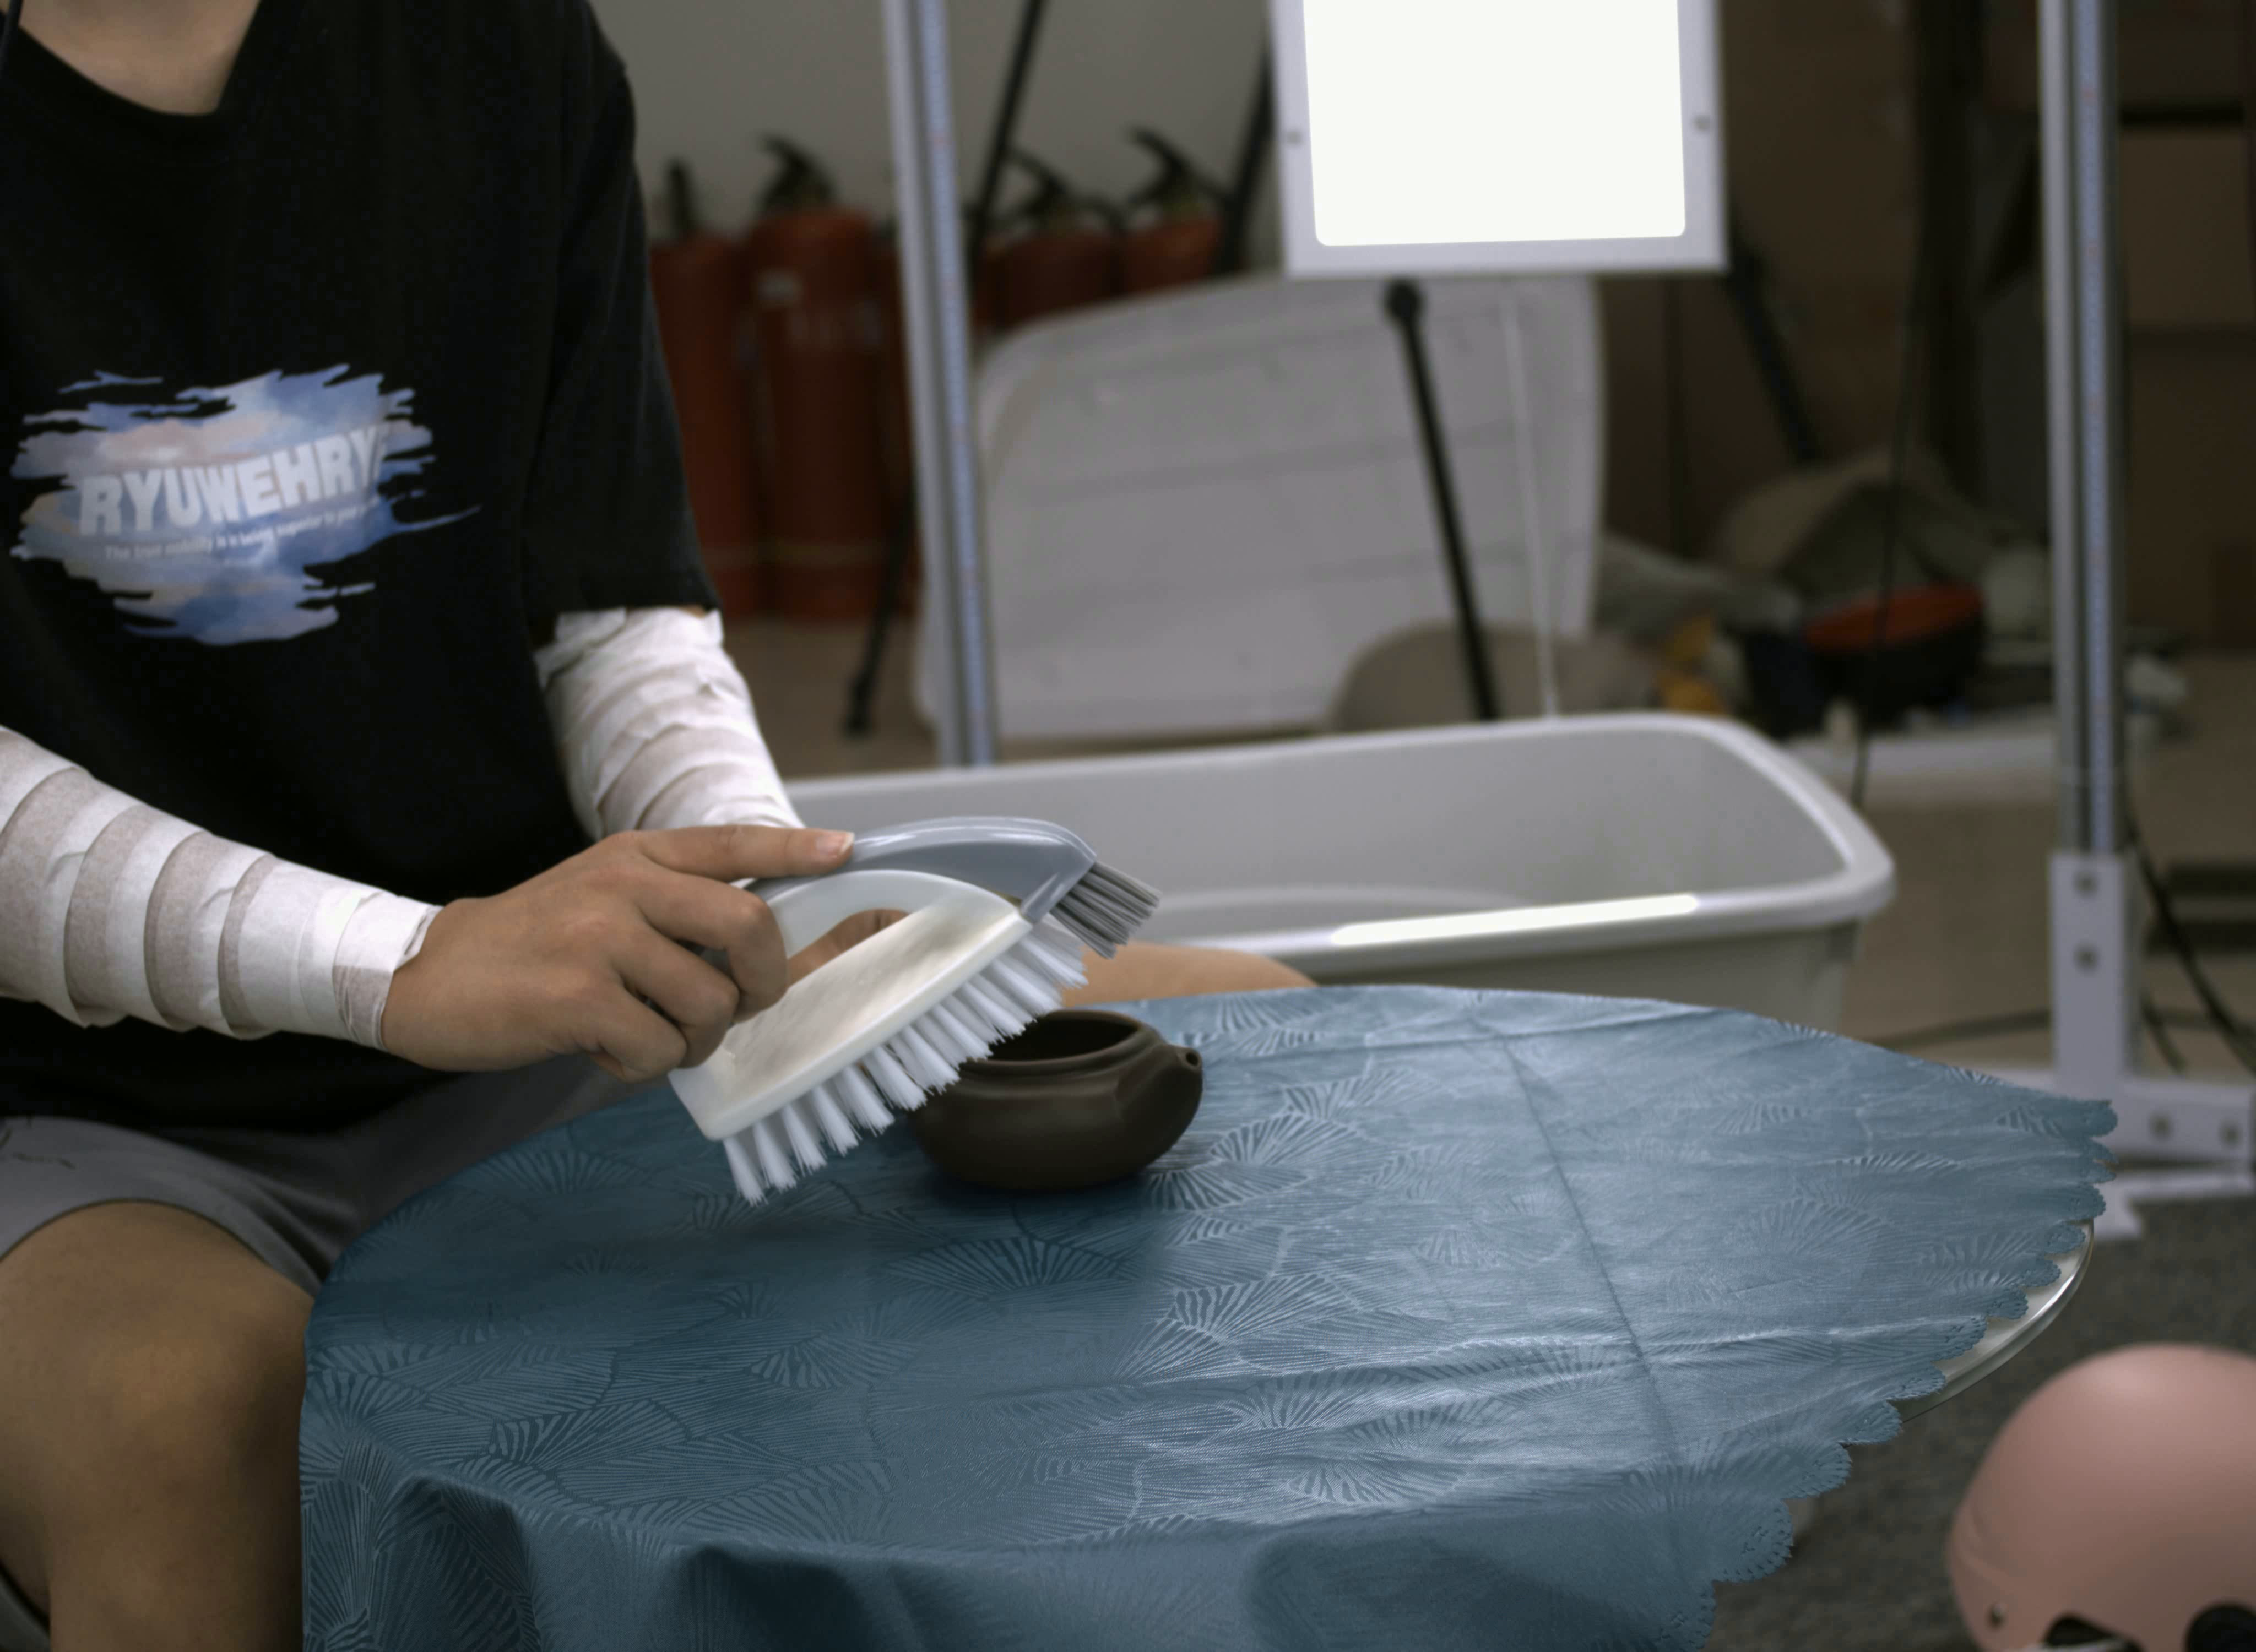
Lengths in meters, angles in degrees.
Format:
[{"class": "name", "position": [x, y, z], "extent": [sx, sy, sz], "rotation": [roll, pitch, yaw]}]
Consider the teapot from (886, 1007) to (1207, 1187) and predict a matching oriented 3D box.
[{"class": "teapot", "position": [-0.031, 0.093, 1.932], "extent": [0.157, 0.054, 0.100], "rotation": [6, 16, 39]}]

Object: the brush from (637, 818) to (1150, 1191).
[{"class": "brush", "position": [-0.086, 0.043, 1.863], "extent": [0.177, 0.093, 0.061], "rotation": [-30, 31, 14]}]
